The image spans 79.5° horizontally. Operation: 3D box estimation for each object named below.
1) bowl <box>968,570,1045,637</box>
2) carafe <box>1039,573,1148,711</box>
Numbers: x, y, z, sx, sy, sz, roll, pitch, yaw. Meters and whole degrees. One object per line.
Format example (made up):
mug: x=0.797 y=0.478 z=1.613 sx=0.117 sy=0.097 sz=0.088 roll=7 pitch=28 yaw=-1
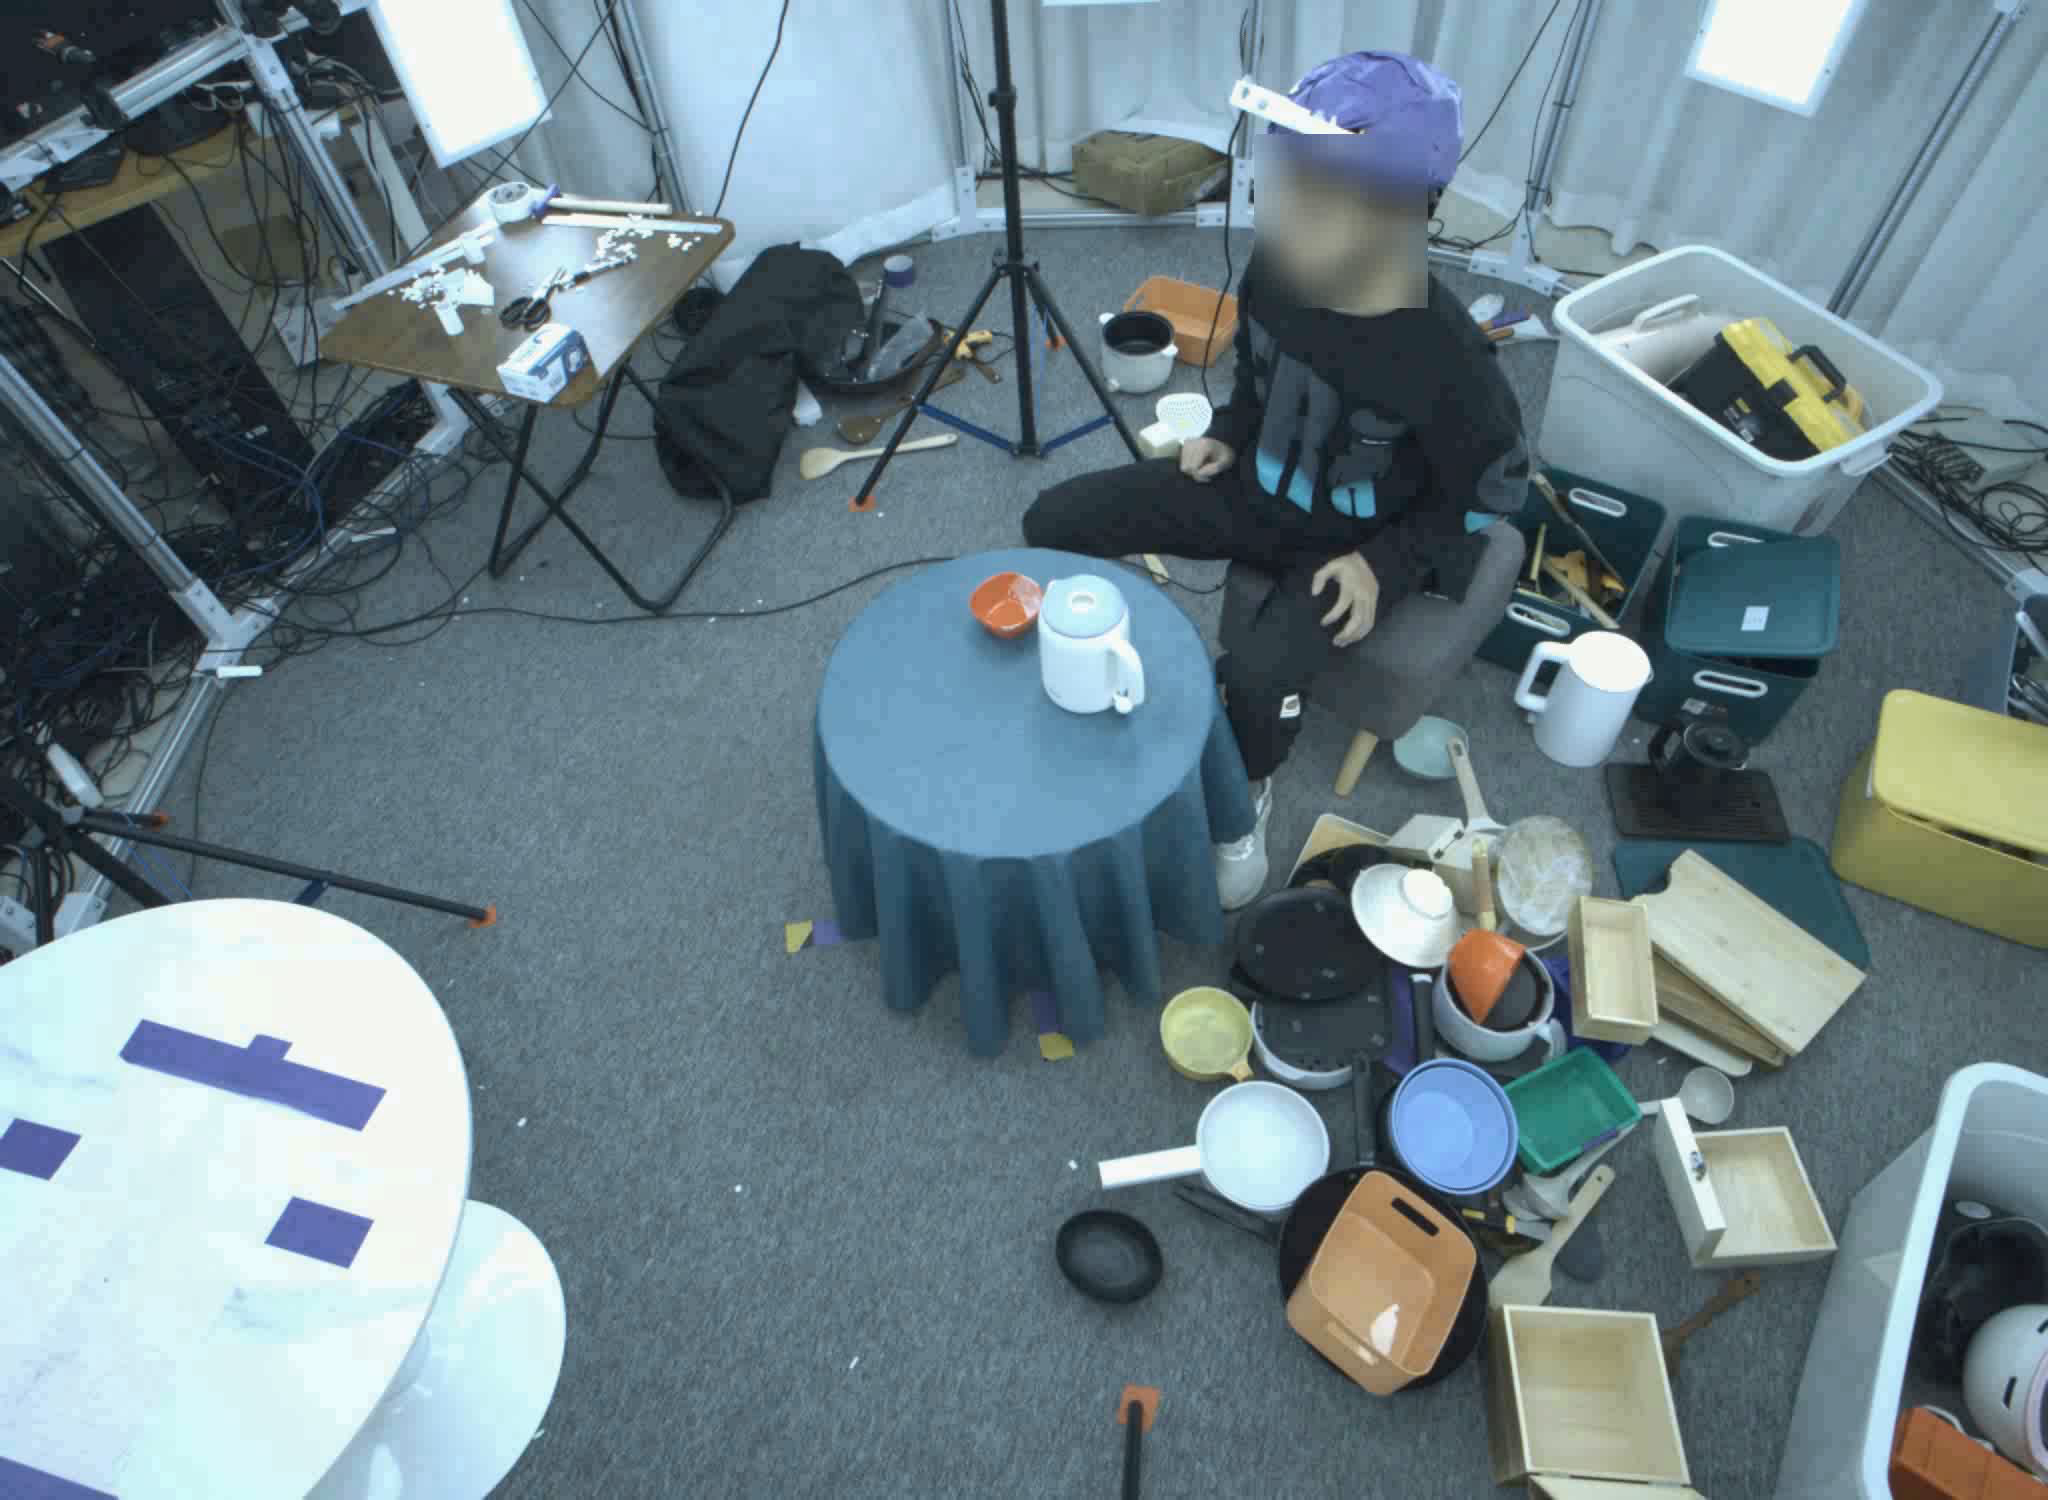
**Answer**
bowl: x=-0.025 y=-0.220 z=1.907 sx=0.118 sy=0.052 sz=0.118 roll=-2 pitch=55 yaw=4
carafe: x=0.105 y=-0.141 z=1.774 sx=0.133 sy=0.184 sz=0.188 roll=-40 pitch=64 yaw=-21
